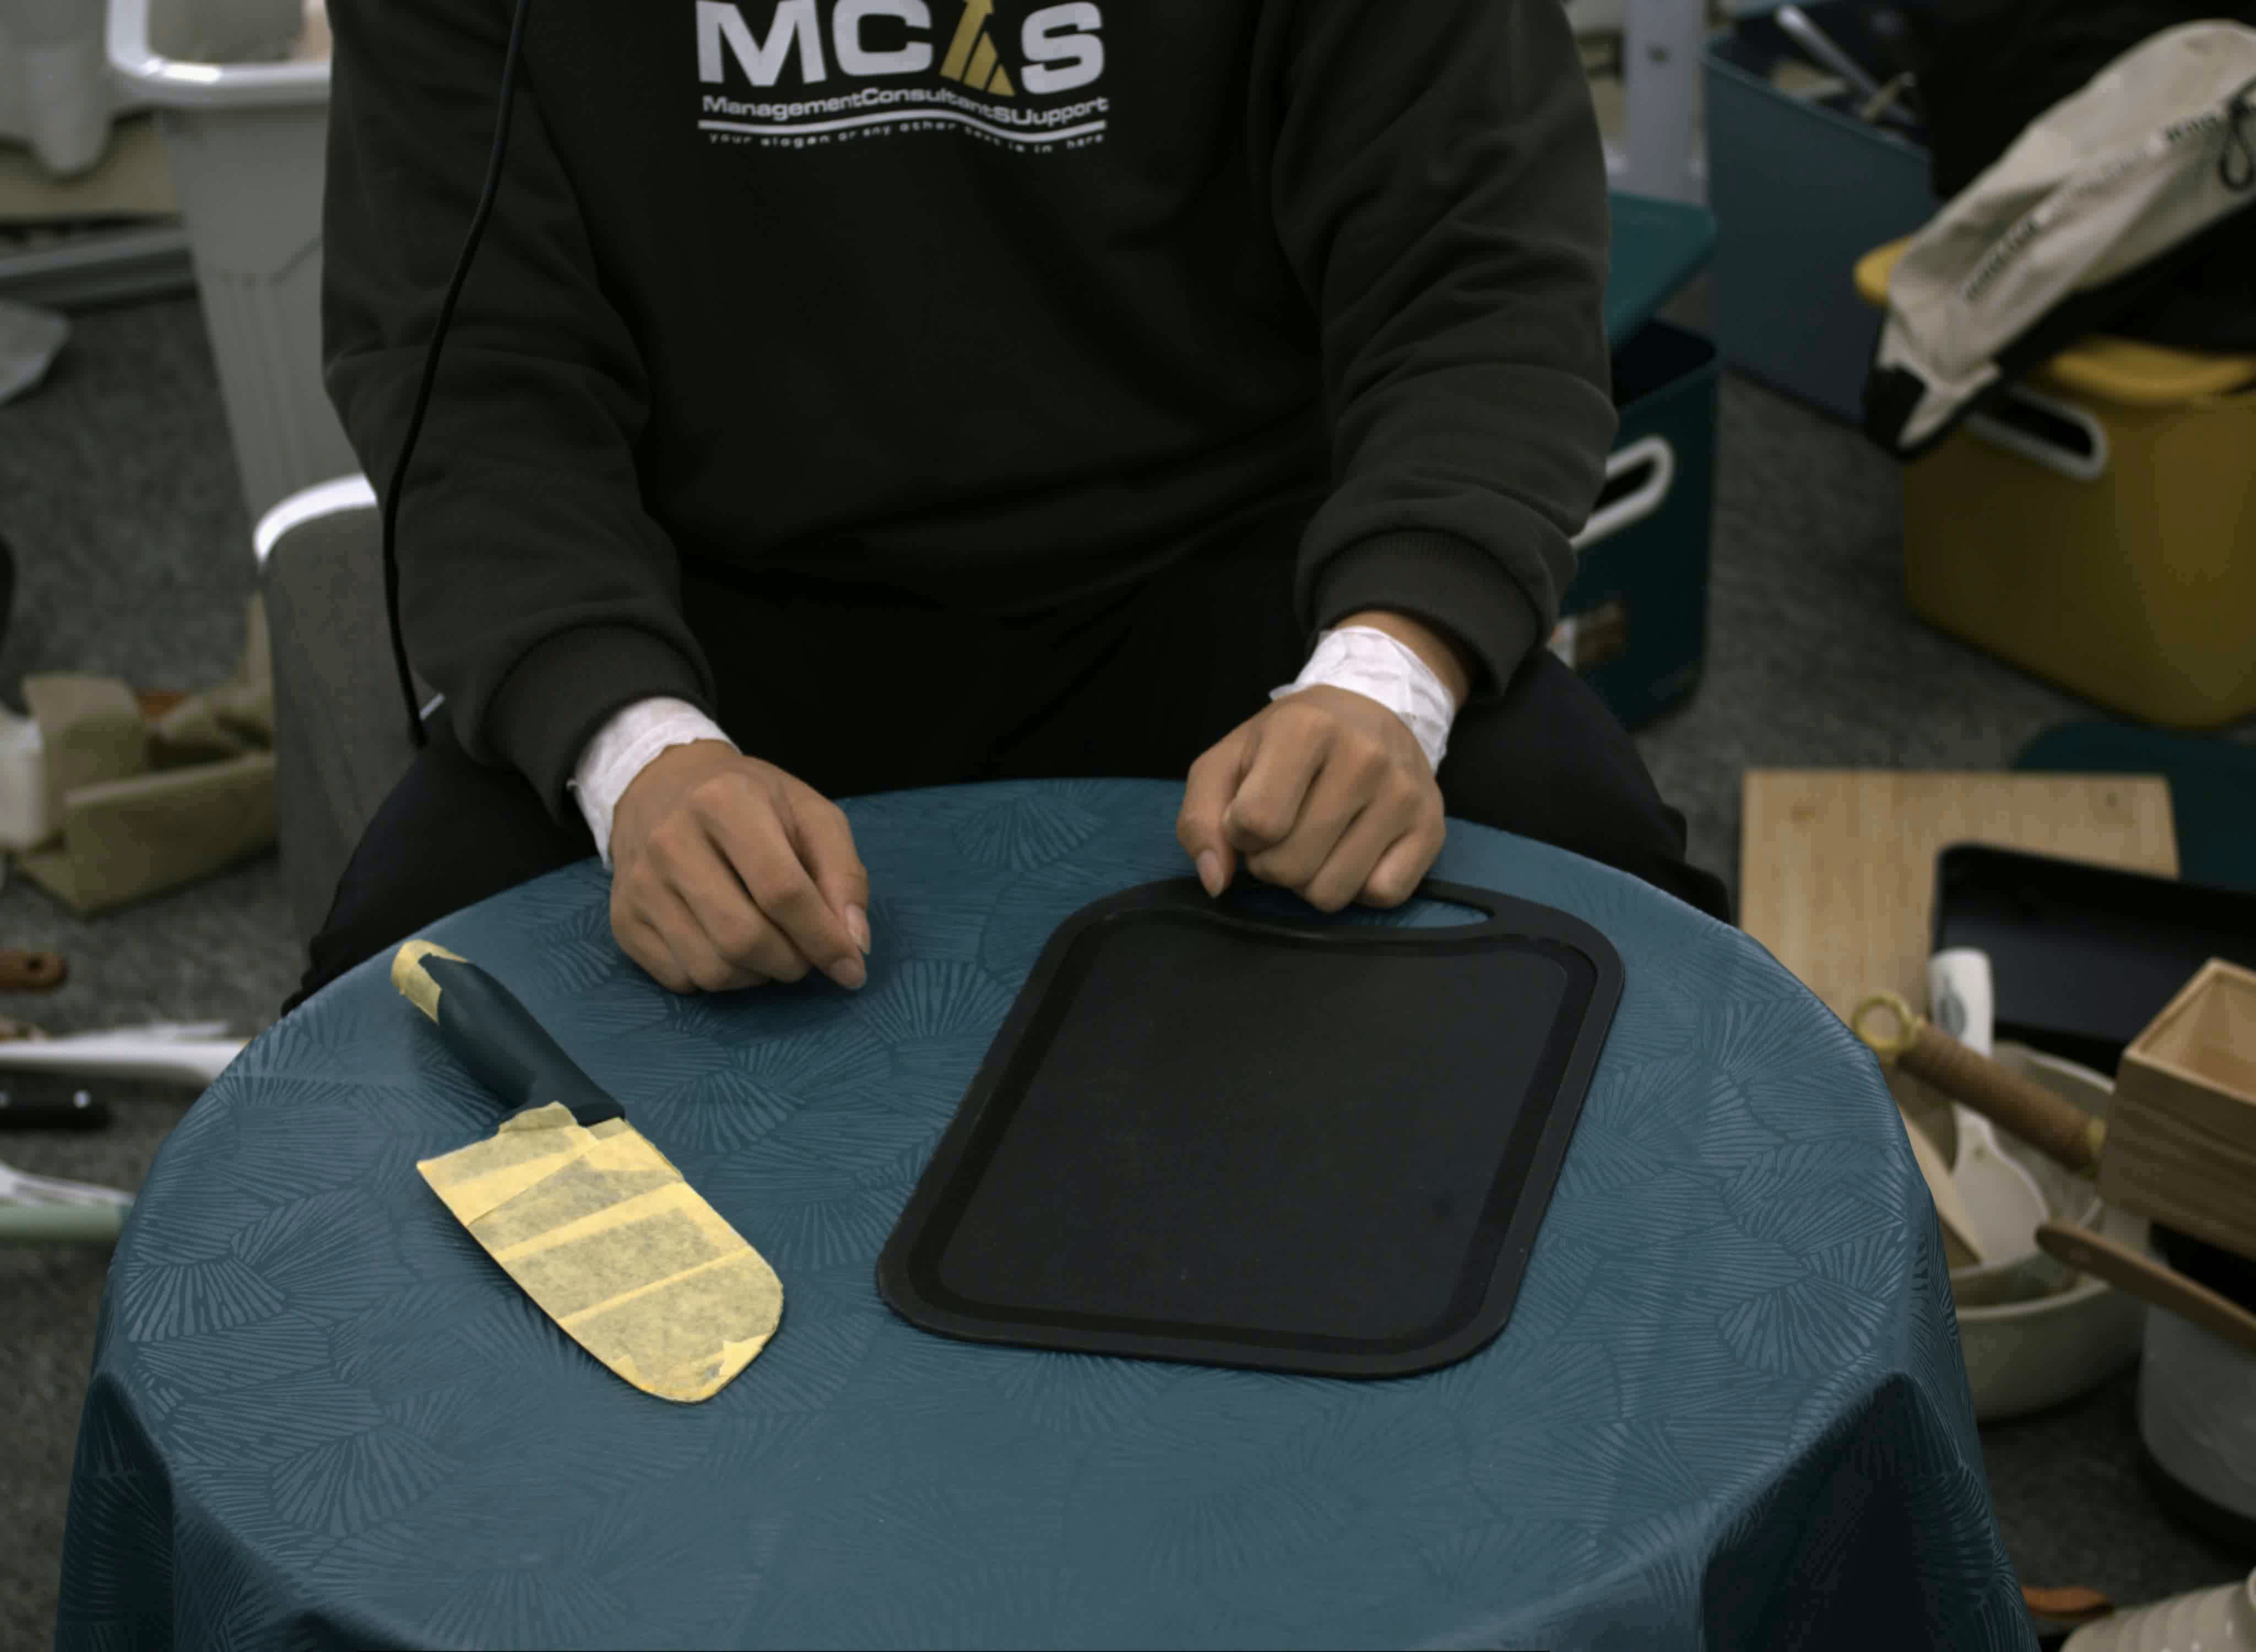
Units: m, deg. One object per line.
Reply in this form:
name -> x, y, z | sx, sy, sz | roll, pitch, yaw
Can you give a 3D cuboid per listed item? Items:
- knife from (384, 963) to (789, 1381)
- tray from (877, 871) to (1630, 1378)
knife -> -0.194, 0.116, 1.875 | 0.081, 0.027, 0.291 | -15, 30, -25
tray -> 0.049, 0.091, 1.907 | 0.209, 0.009, 0.331 | 5, 28, 14
